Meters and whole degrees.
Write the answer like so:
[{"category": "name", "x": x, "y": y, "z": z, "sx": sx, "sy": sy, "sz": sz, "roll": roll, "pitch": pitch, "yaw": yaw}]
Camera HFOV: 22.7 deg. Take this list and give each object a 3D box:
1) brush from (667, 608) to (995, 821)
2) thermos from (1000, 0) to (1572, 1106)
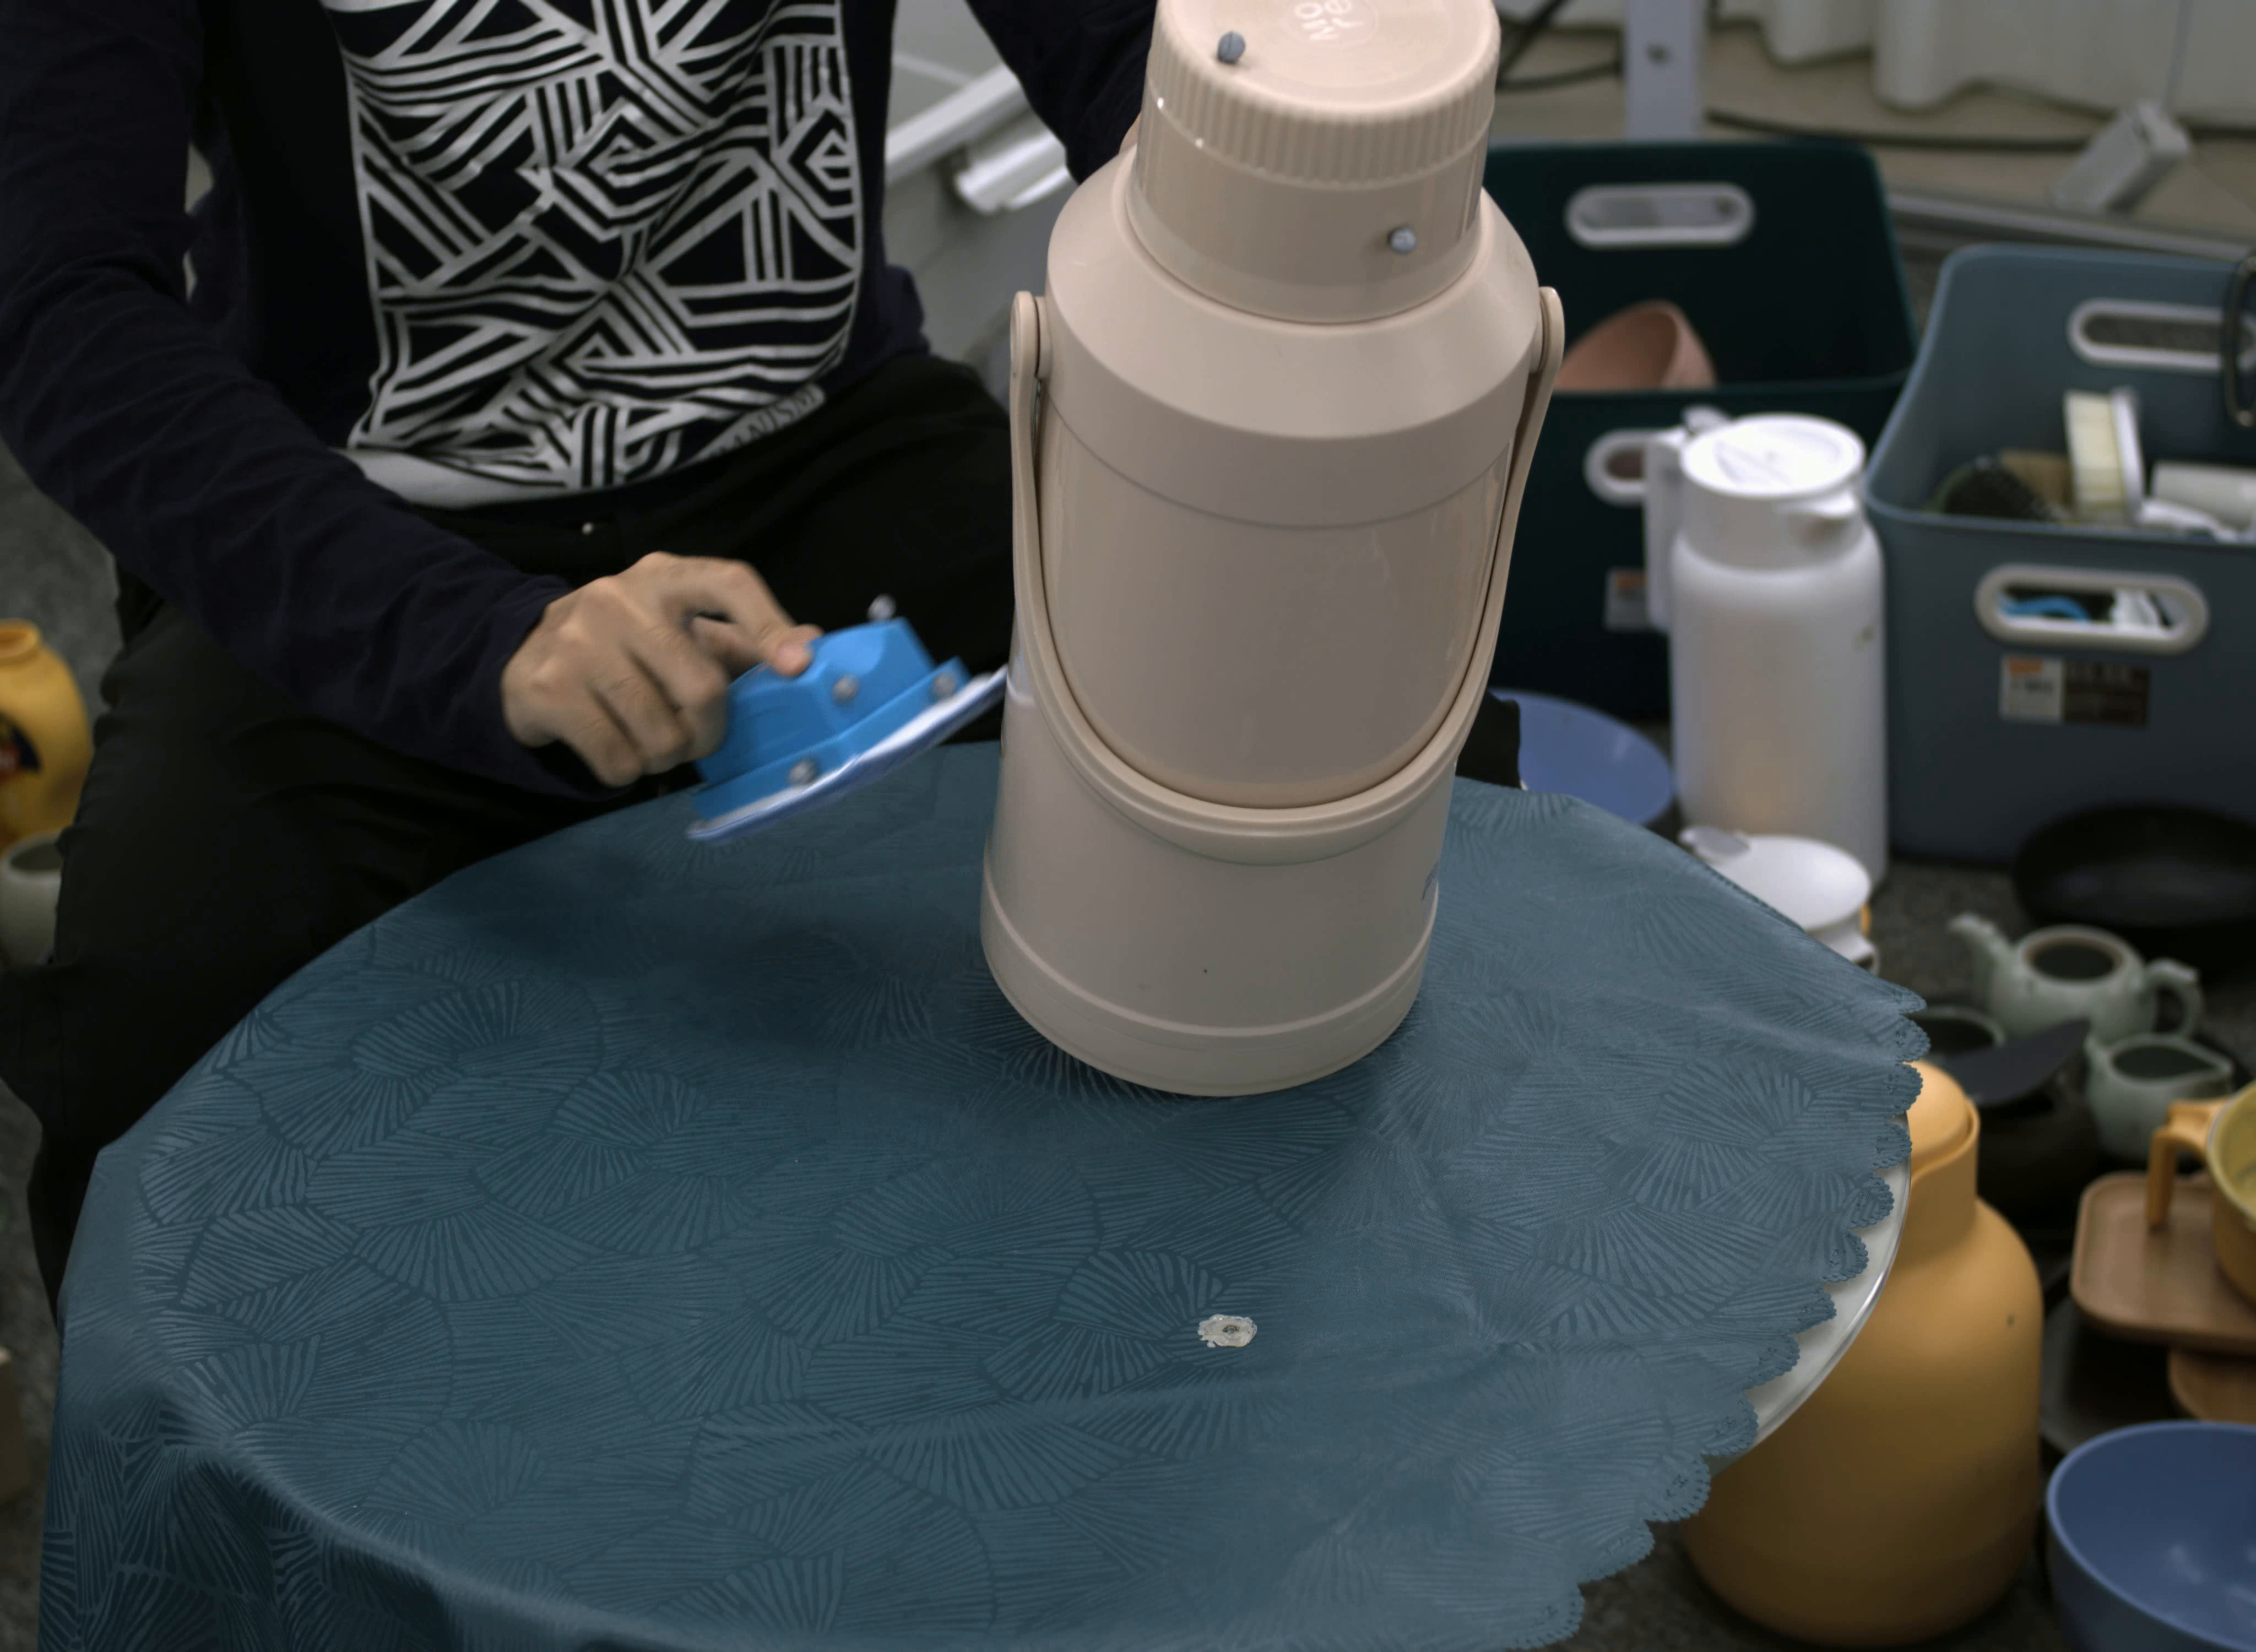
[{"category": "brush", "x": -0.110, "y": -0.043, "z": 1.958, "sx": 0.085, "sy": 0.056, "sz": 0.142, "roll": -31, "pitch": 7, "yaw": -30}, {"category": "thermos", "x": 0.047, "y": -0.113, "z": 1.845, "sx": 0.175, "sy": 0.400, "sz": 0.211, "roll": -3, "pitch": 42, "yaw": -8}]
